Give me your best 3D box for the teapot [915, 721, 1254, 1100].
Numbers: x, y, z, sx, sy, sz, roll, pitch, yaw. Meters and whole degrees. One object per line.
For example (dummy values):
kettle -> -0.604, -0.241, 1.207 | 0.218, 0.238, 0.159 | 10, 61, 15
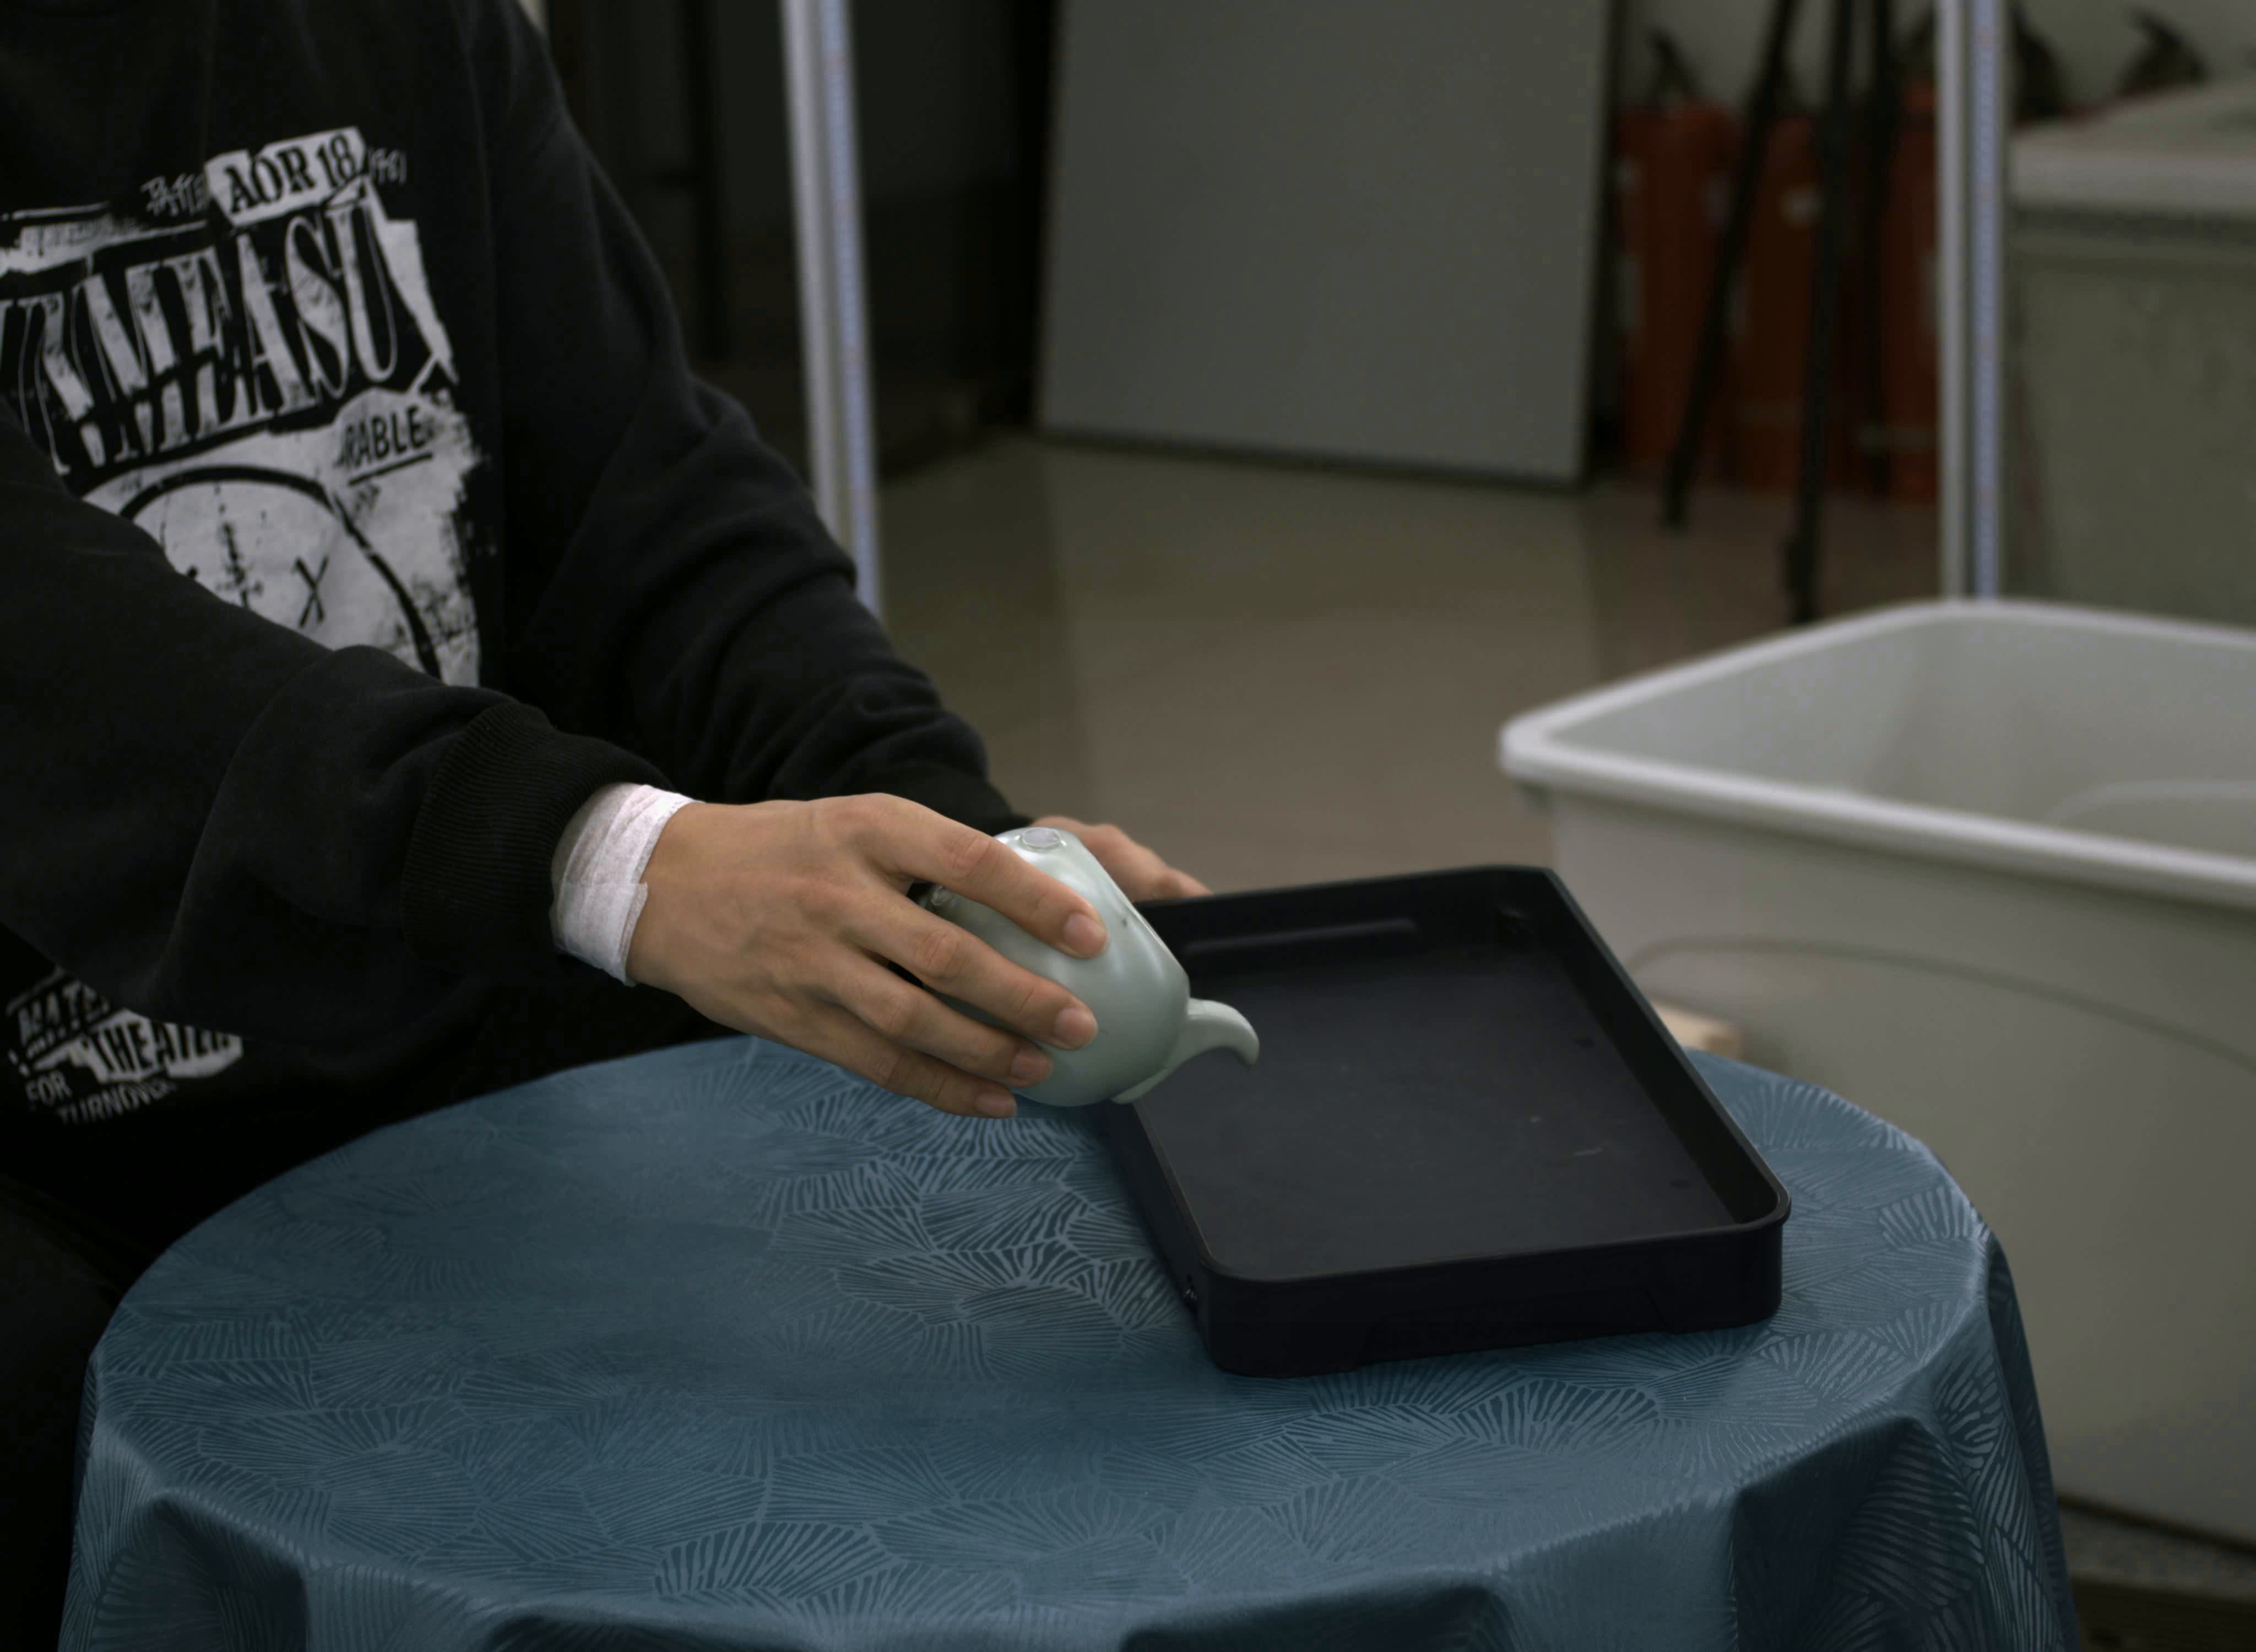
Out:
teapot -> -0.023, 0.039, 1.640 | 0.074, 0.143, 0.089 | -36, 26, -1

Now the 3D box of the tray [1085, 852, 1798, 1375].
tray -> 0.086, 0.087, 1.743 | 0.181, 0.037, 0.320 | -8, 21, -9
